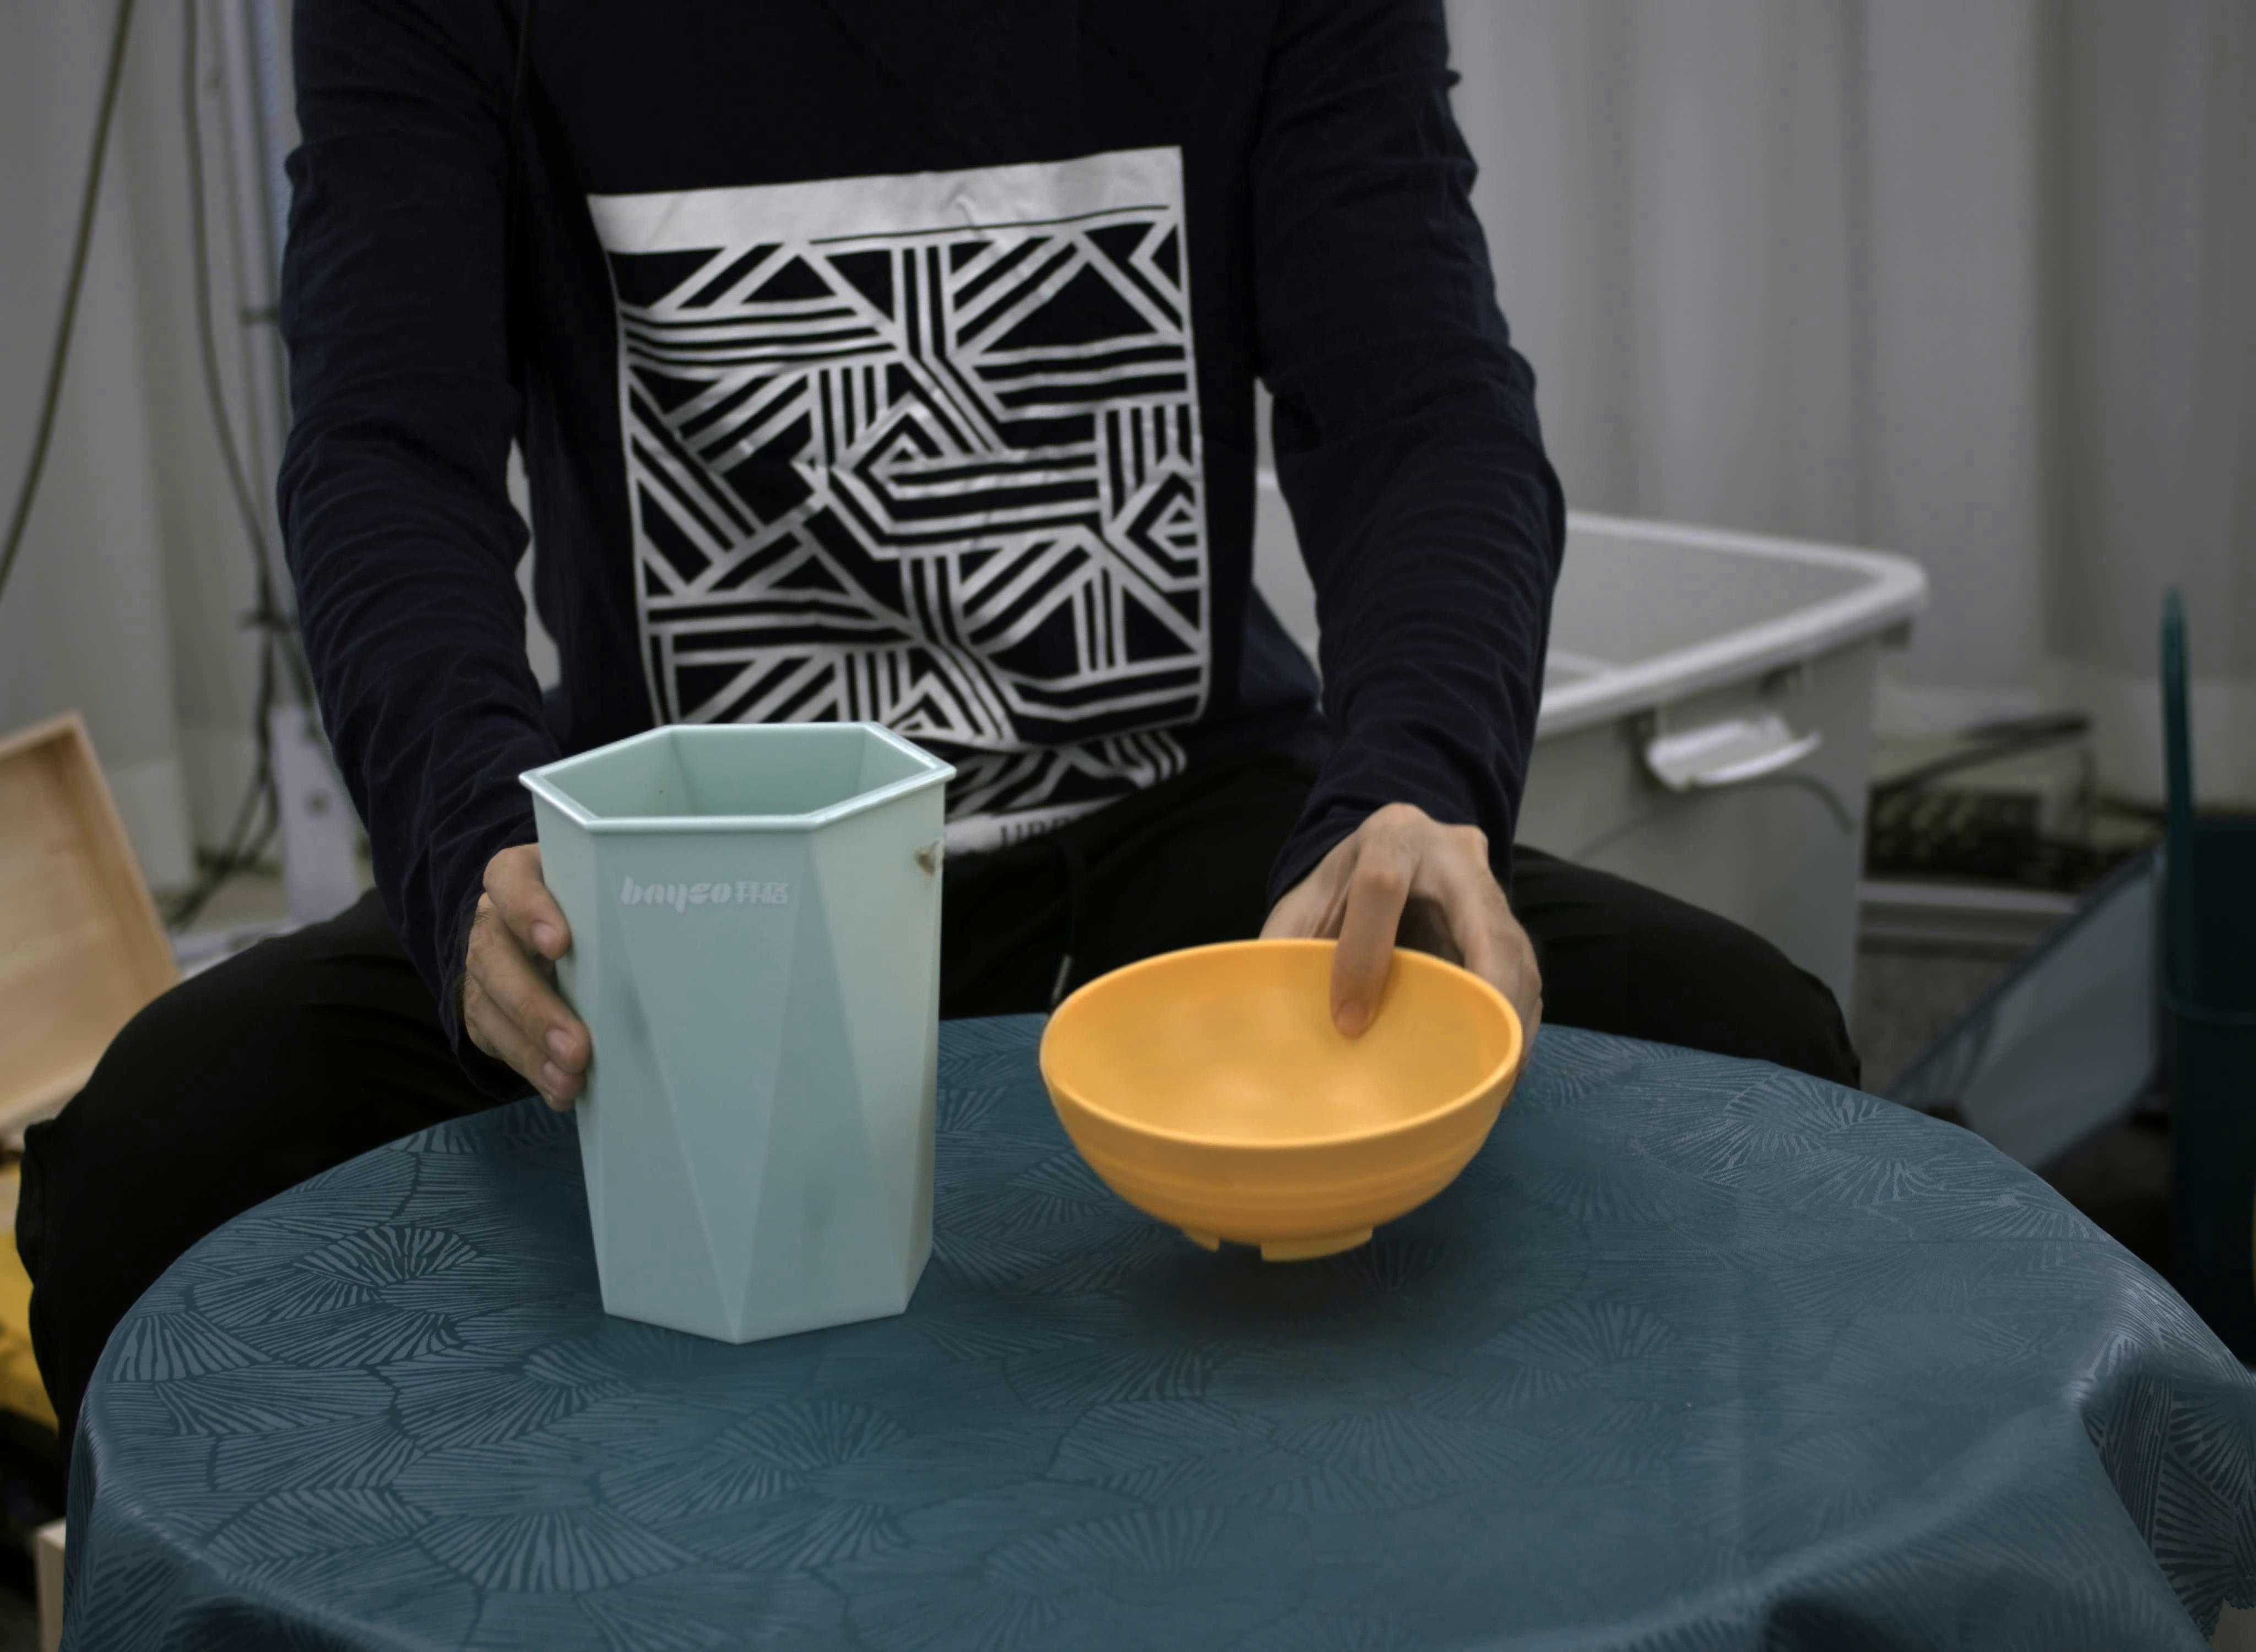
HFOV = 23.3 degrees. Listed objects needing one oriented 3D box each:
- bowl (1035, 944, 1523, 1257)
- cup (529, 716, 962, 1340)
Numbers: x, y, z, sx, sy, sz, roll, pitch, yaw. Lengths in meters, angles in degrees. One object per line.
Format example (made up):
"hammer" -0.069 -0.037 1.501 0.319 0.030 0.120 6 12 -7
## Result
"bowl" 0.045 0.089 1.629 0.145 0.060 0.146 -1 19 0
"cup" -0.110 0.059 1.627 0.131 0.162 0.116 0 13 6
